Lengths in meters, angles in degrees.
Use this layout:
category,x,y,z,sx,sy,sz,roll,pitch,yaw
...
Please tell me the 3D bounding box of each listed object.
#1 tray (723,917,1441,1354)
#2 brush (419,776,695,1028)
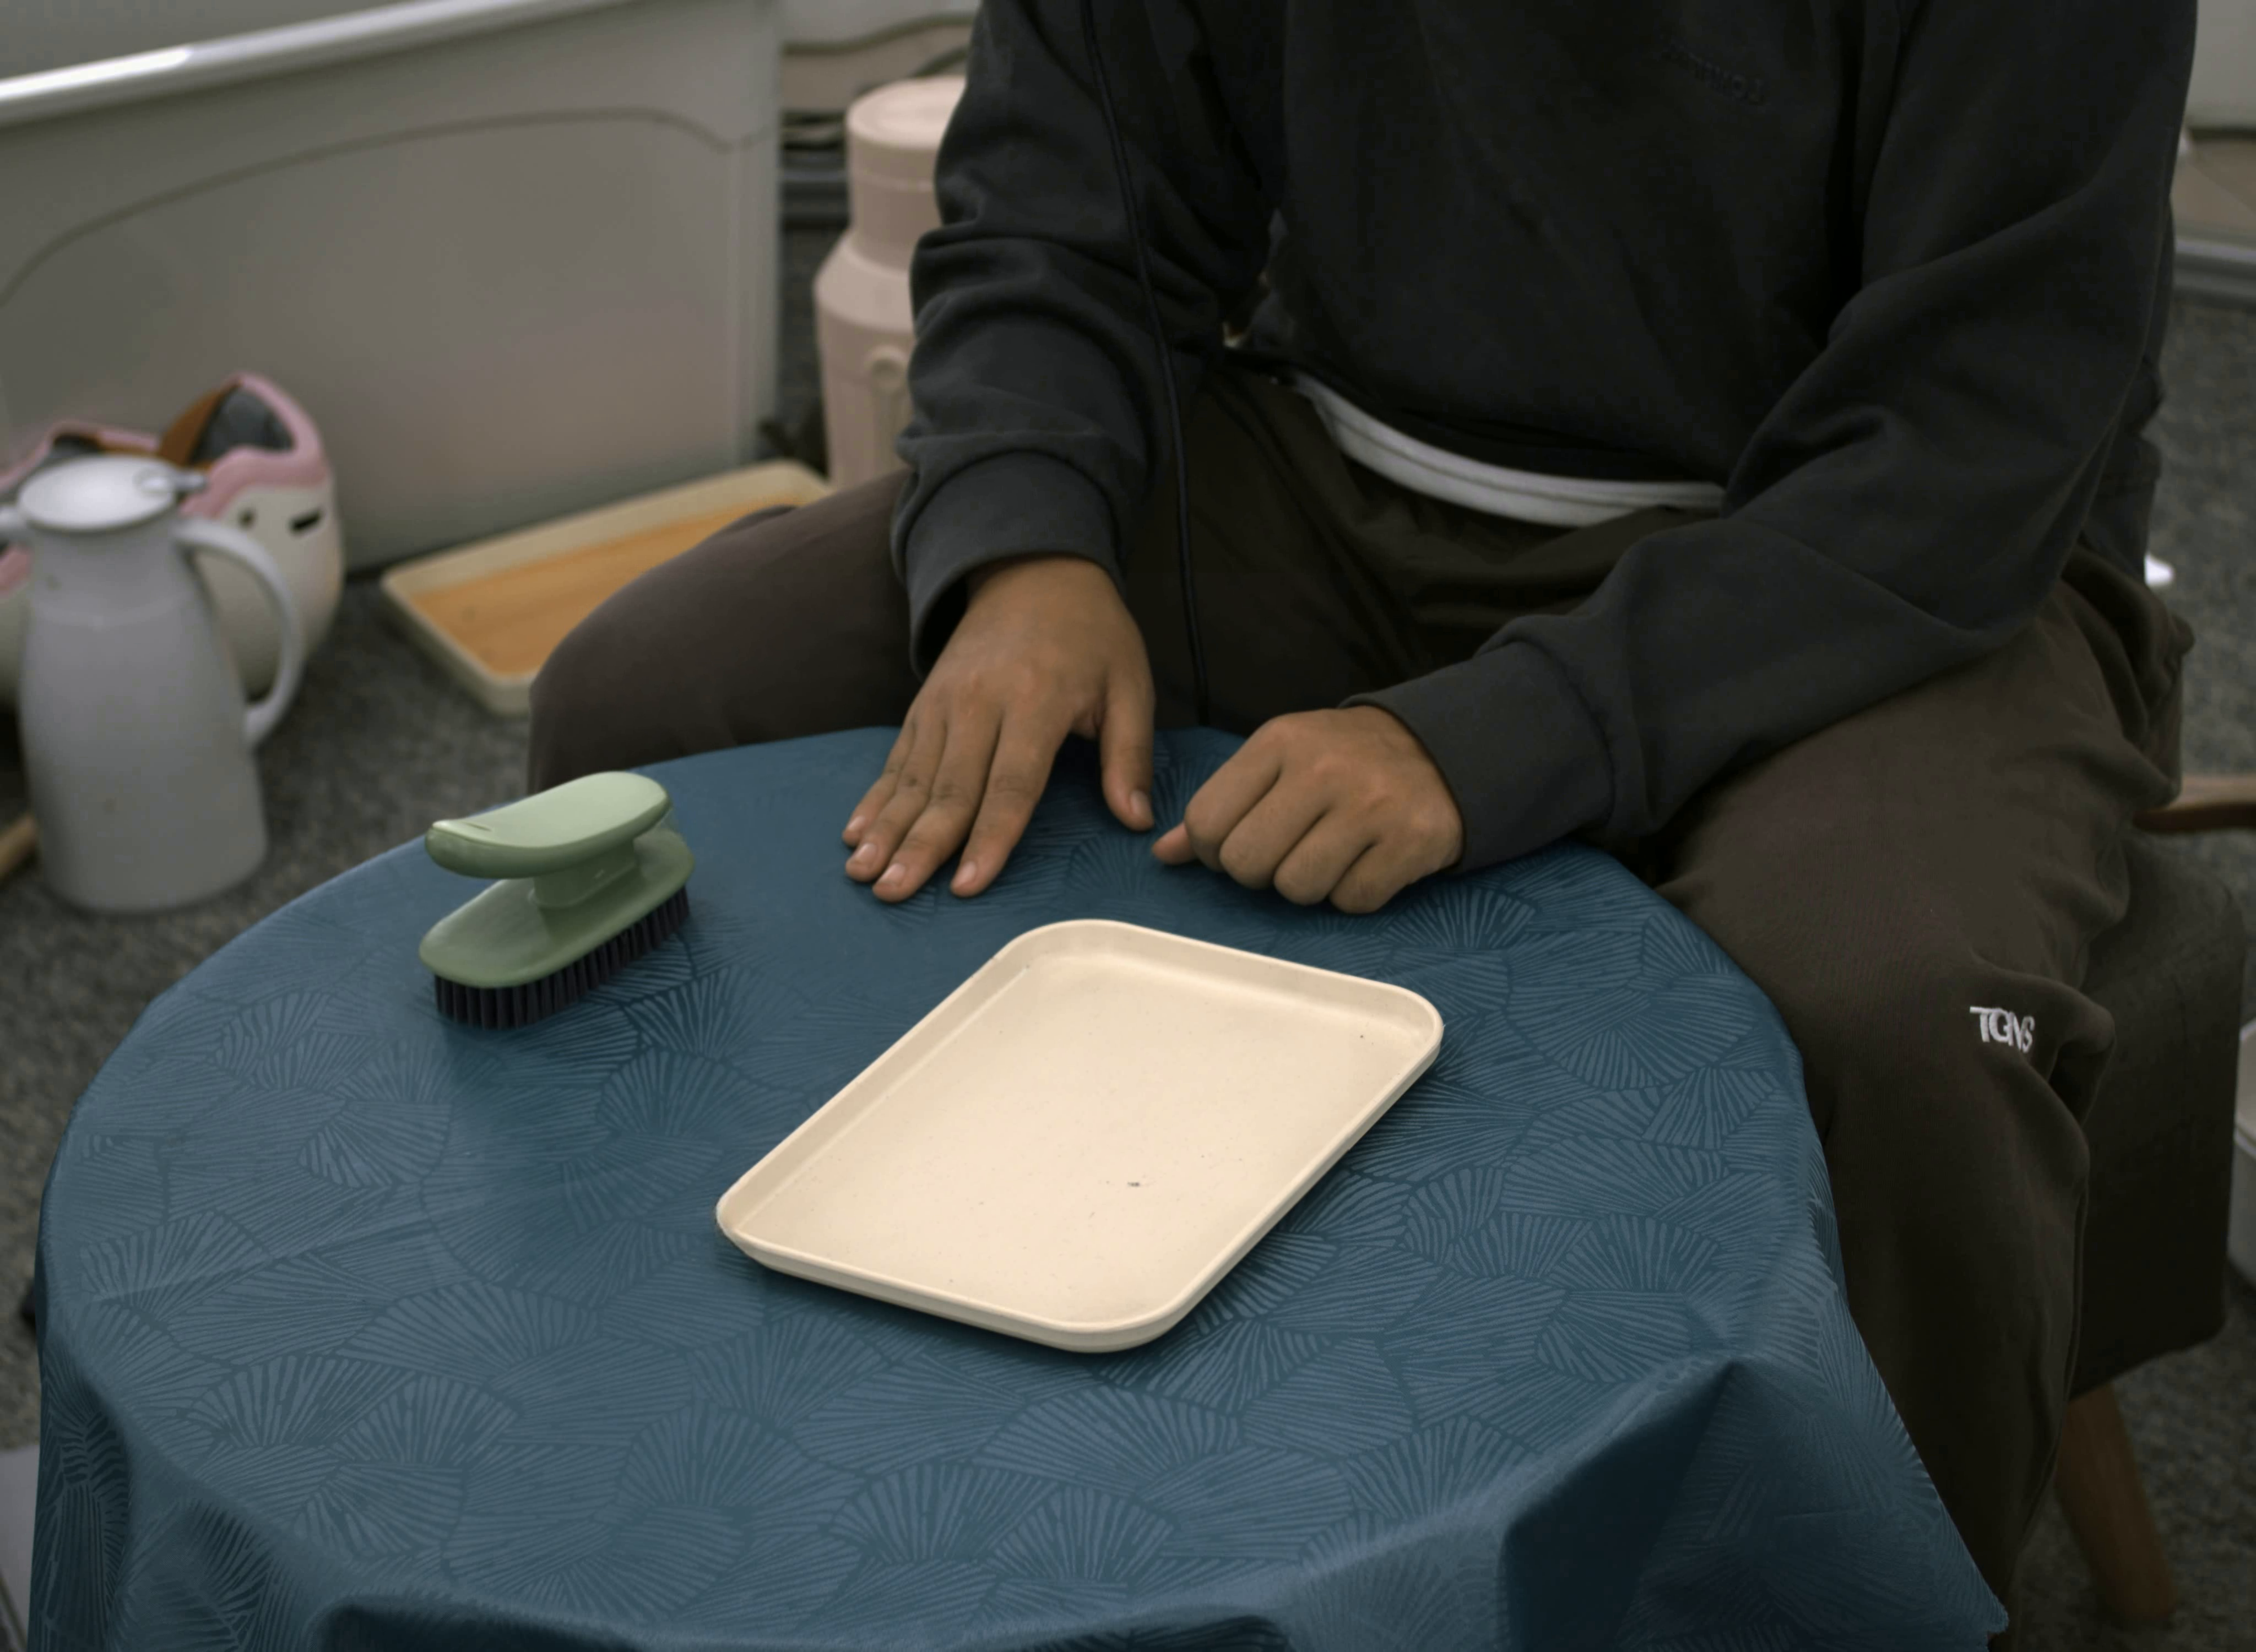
category,x,y,z,sx,sy,sz,roll,pitch,yaw
tray,-0.012,0.102,1.884,0.170,0.017,0.243,13,31,27
brush,-0.205,0.026,2.011,0.059,0.075,0.124,15,18,30
